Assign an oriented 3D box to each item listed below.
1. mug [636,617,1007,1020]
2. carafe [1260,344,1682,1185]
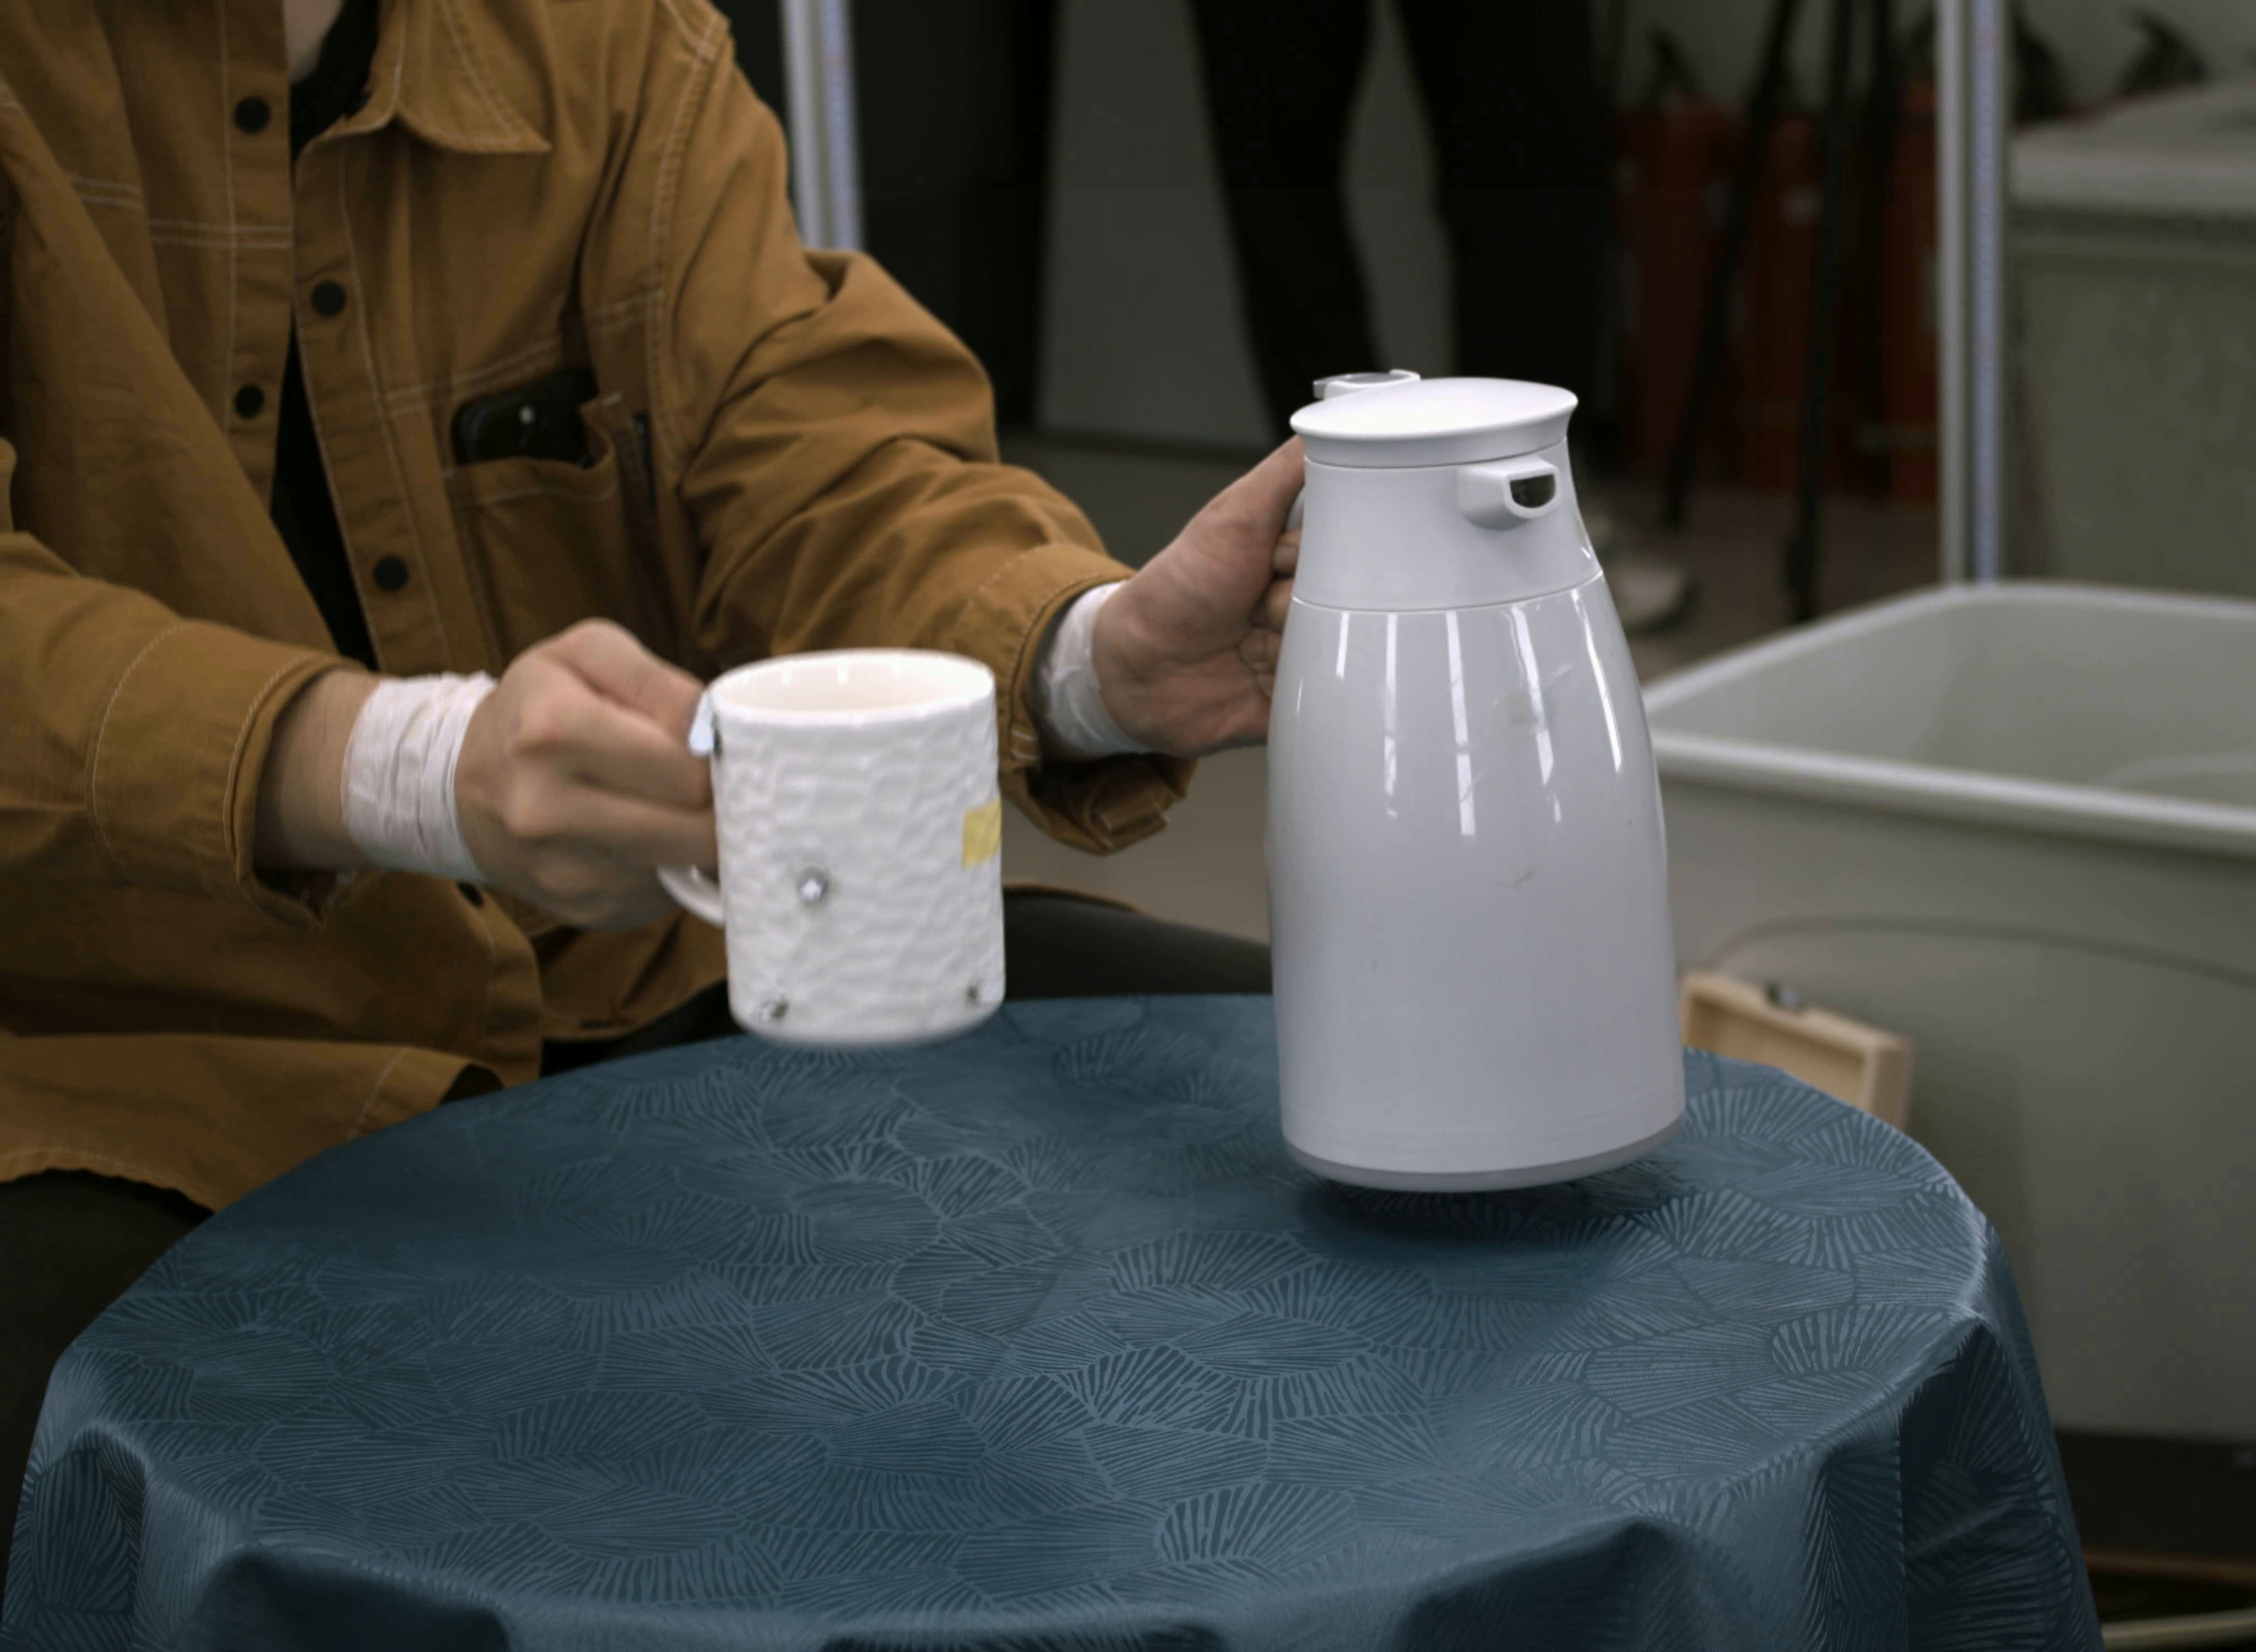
[{"bbox_3d":[-0.093,-0.004,1.603,0.118,0.103,0.084,4,16,29],"label":"mug"},{"bbox_3d":[0.095,-0.027,1.736,0.130,0.251,0.169,-12,14,-24],"label":"carafe"}]
